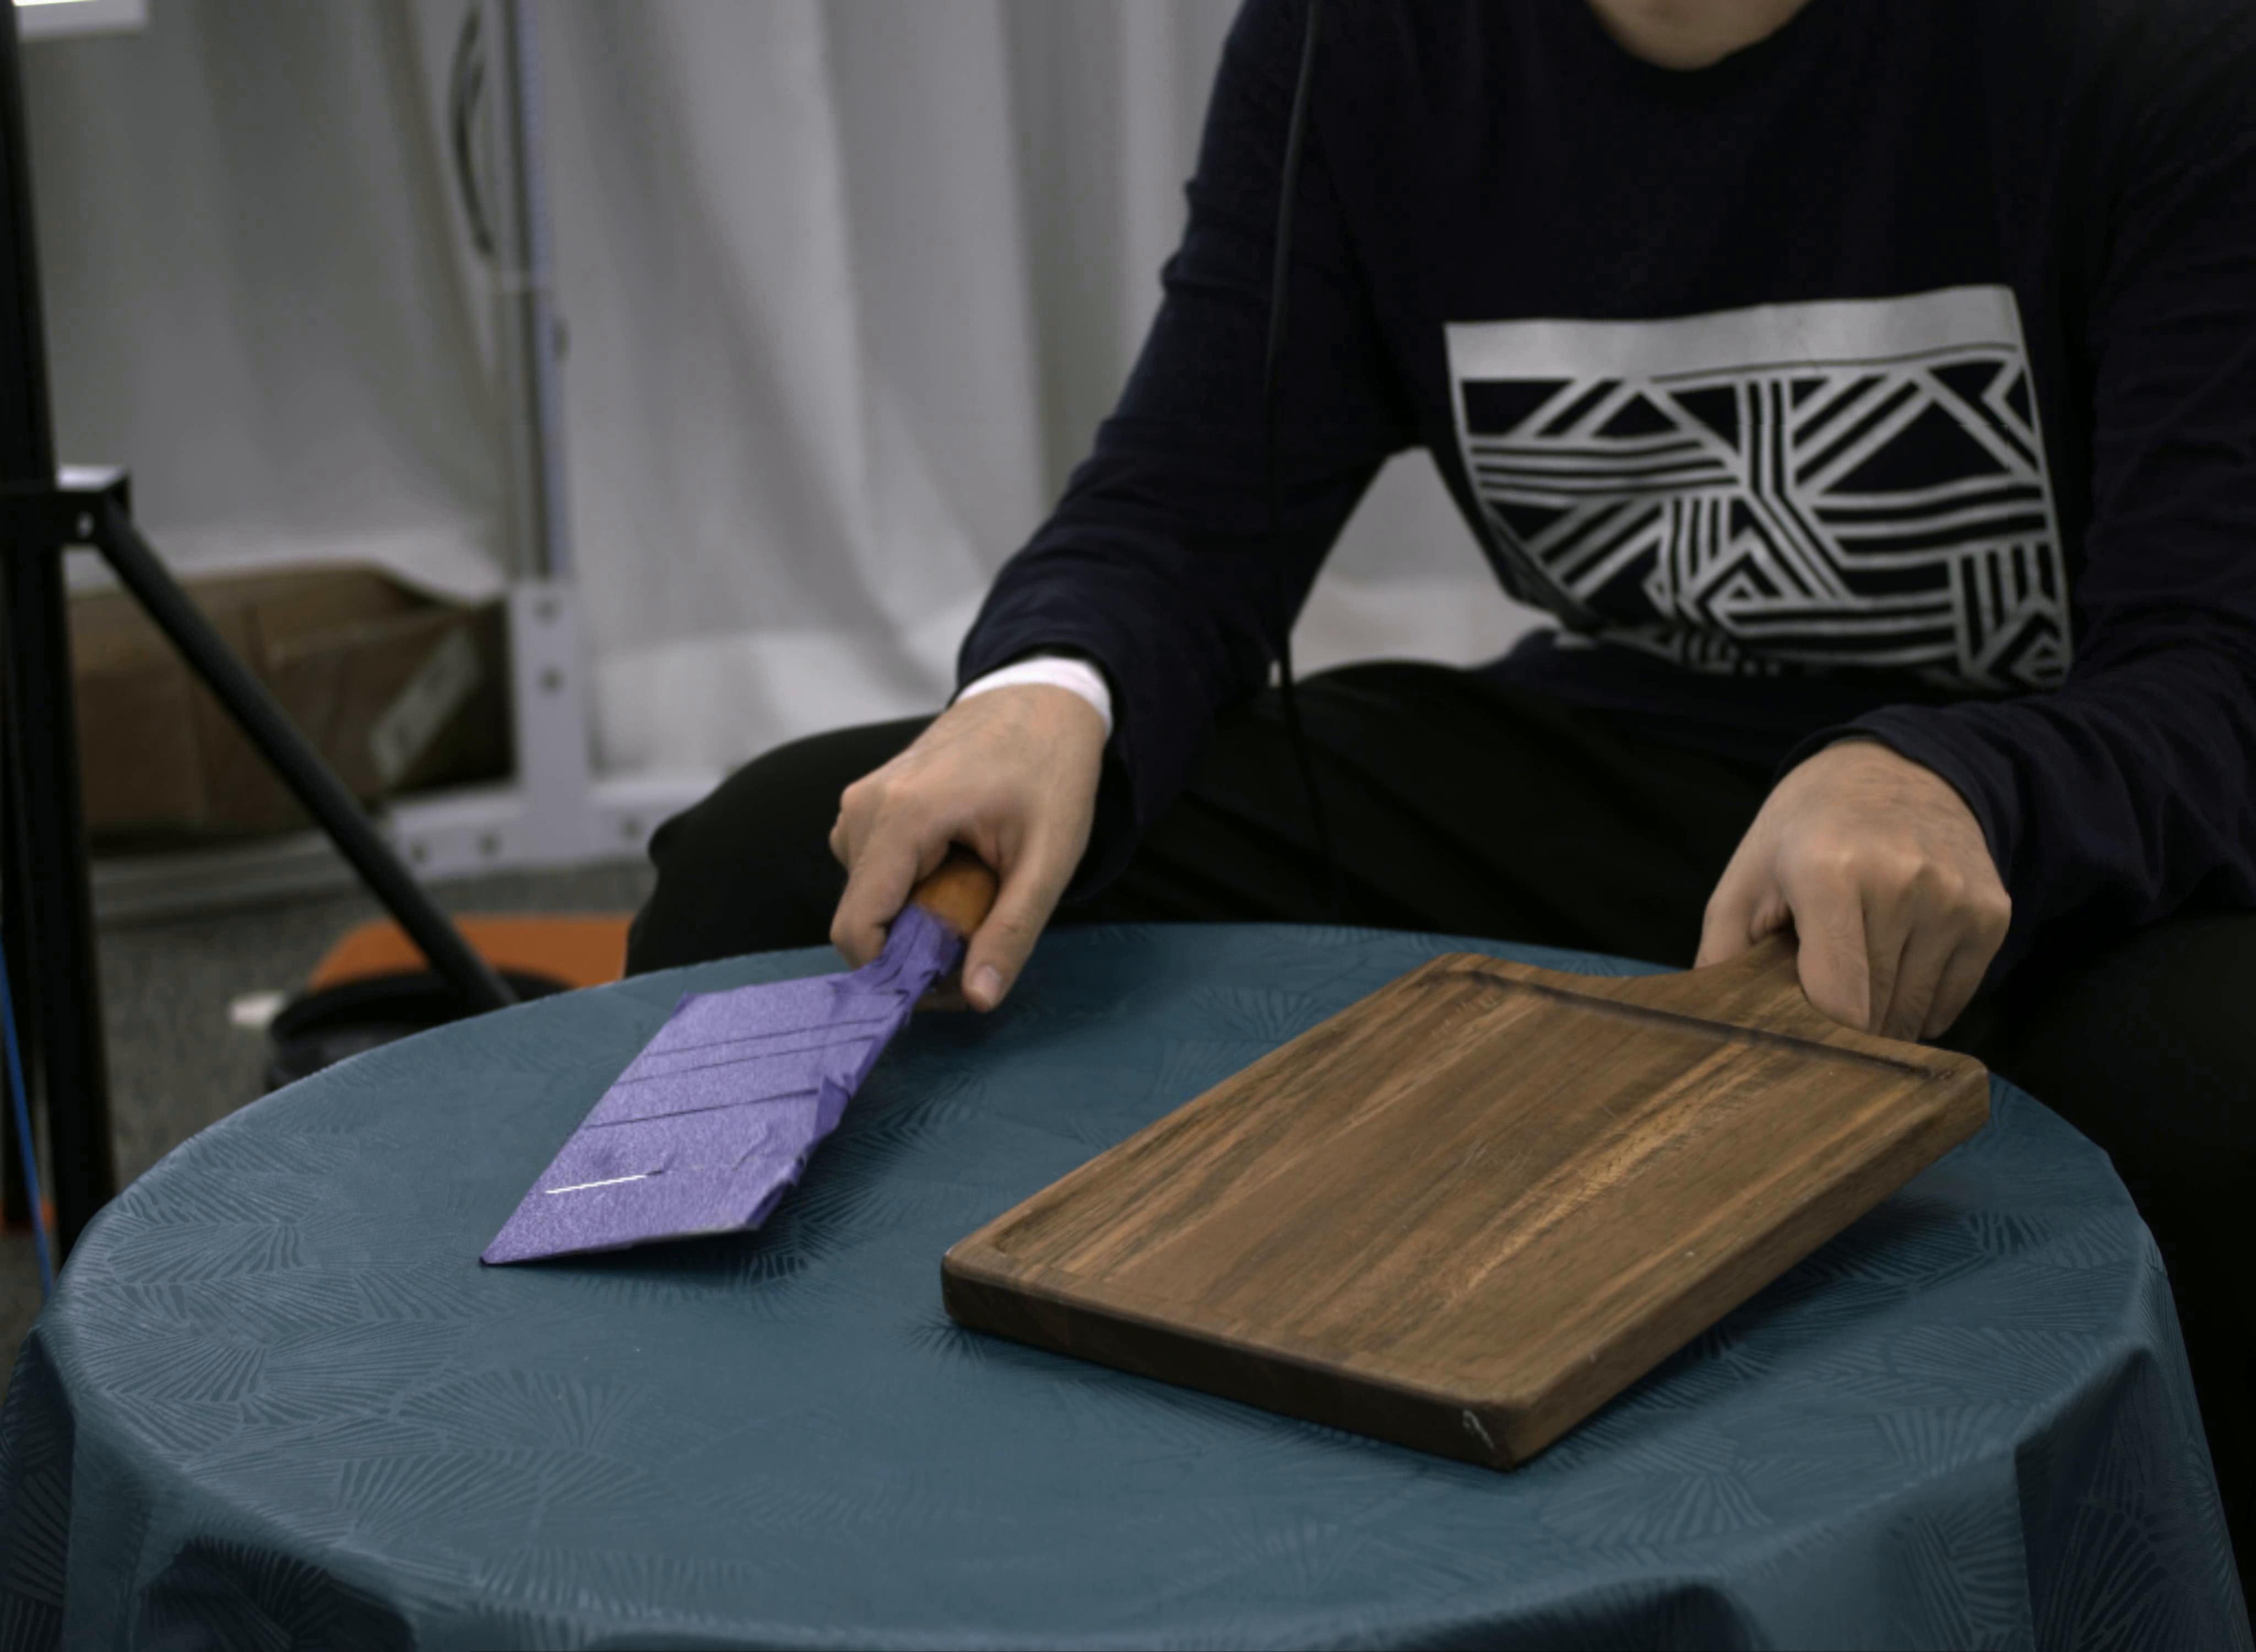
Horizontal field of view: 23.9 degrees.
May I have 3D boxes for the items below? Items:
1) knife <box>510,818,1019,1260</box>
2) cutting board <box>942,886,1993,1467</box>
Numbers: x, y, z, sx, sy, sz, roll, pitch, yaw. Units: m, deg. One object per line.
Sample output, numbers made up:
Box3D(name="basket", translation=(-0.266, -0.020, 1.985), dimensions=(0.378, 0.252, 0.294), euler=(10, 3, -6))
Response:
Box3D(name="knife", translation=(-0.111, 0.062, 1.651), dimensions=(0.104, 0.032, 0.313), euler=(-6, 17, 15))
Box3D(name="cutting board", translation=(0.129, 0.086, 1.520), dimensions=(0.205, 0.023, 0.345), euler=(11, 26, 38))
